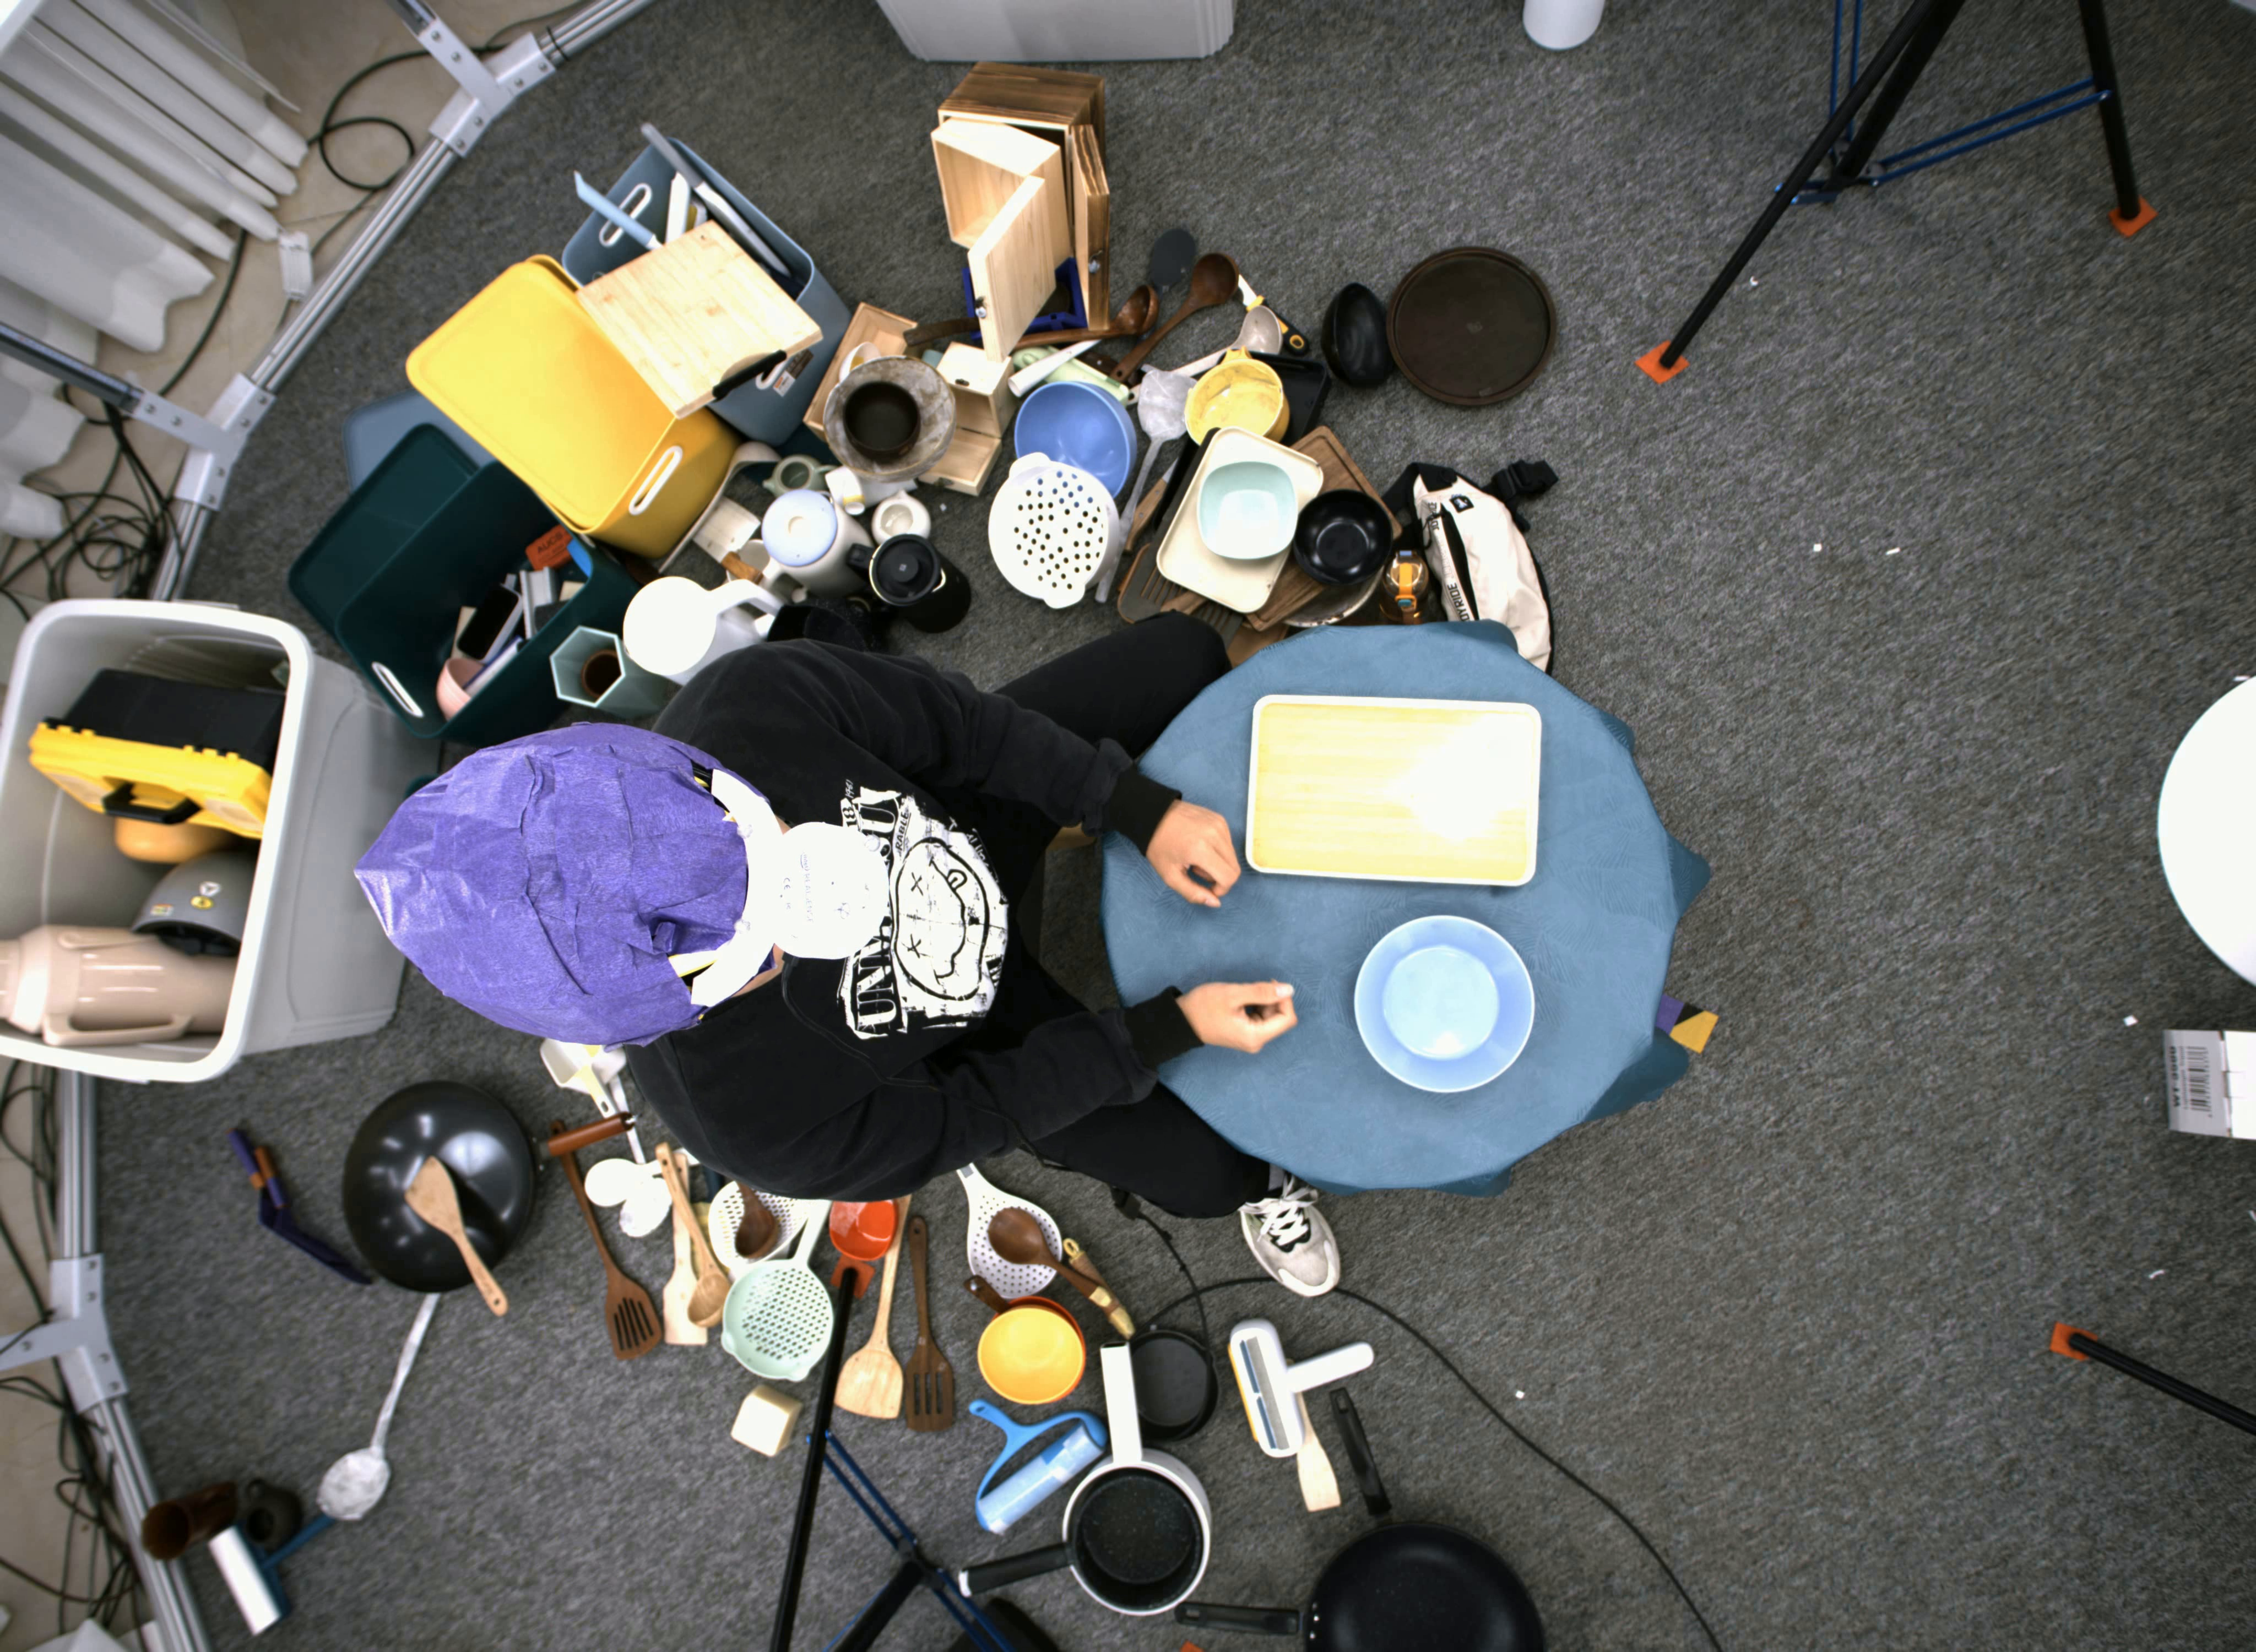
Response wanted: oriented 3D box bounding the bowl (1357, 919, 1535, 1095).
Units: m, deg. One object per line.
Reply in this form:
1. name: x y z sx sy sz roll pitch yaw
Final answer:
1. bowl: 0.323 0.183 1.411 0.177 0.070 0.175 -1 85 10

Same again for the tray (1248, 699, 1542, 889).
1. tray: 0.281 -0.037 1.457 0.301 0.027 0.190 3 86 10
